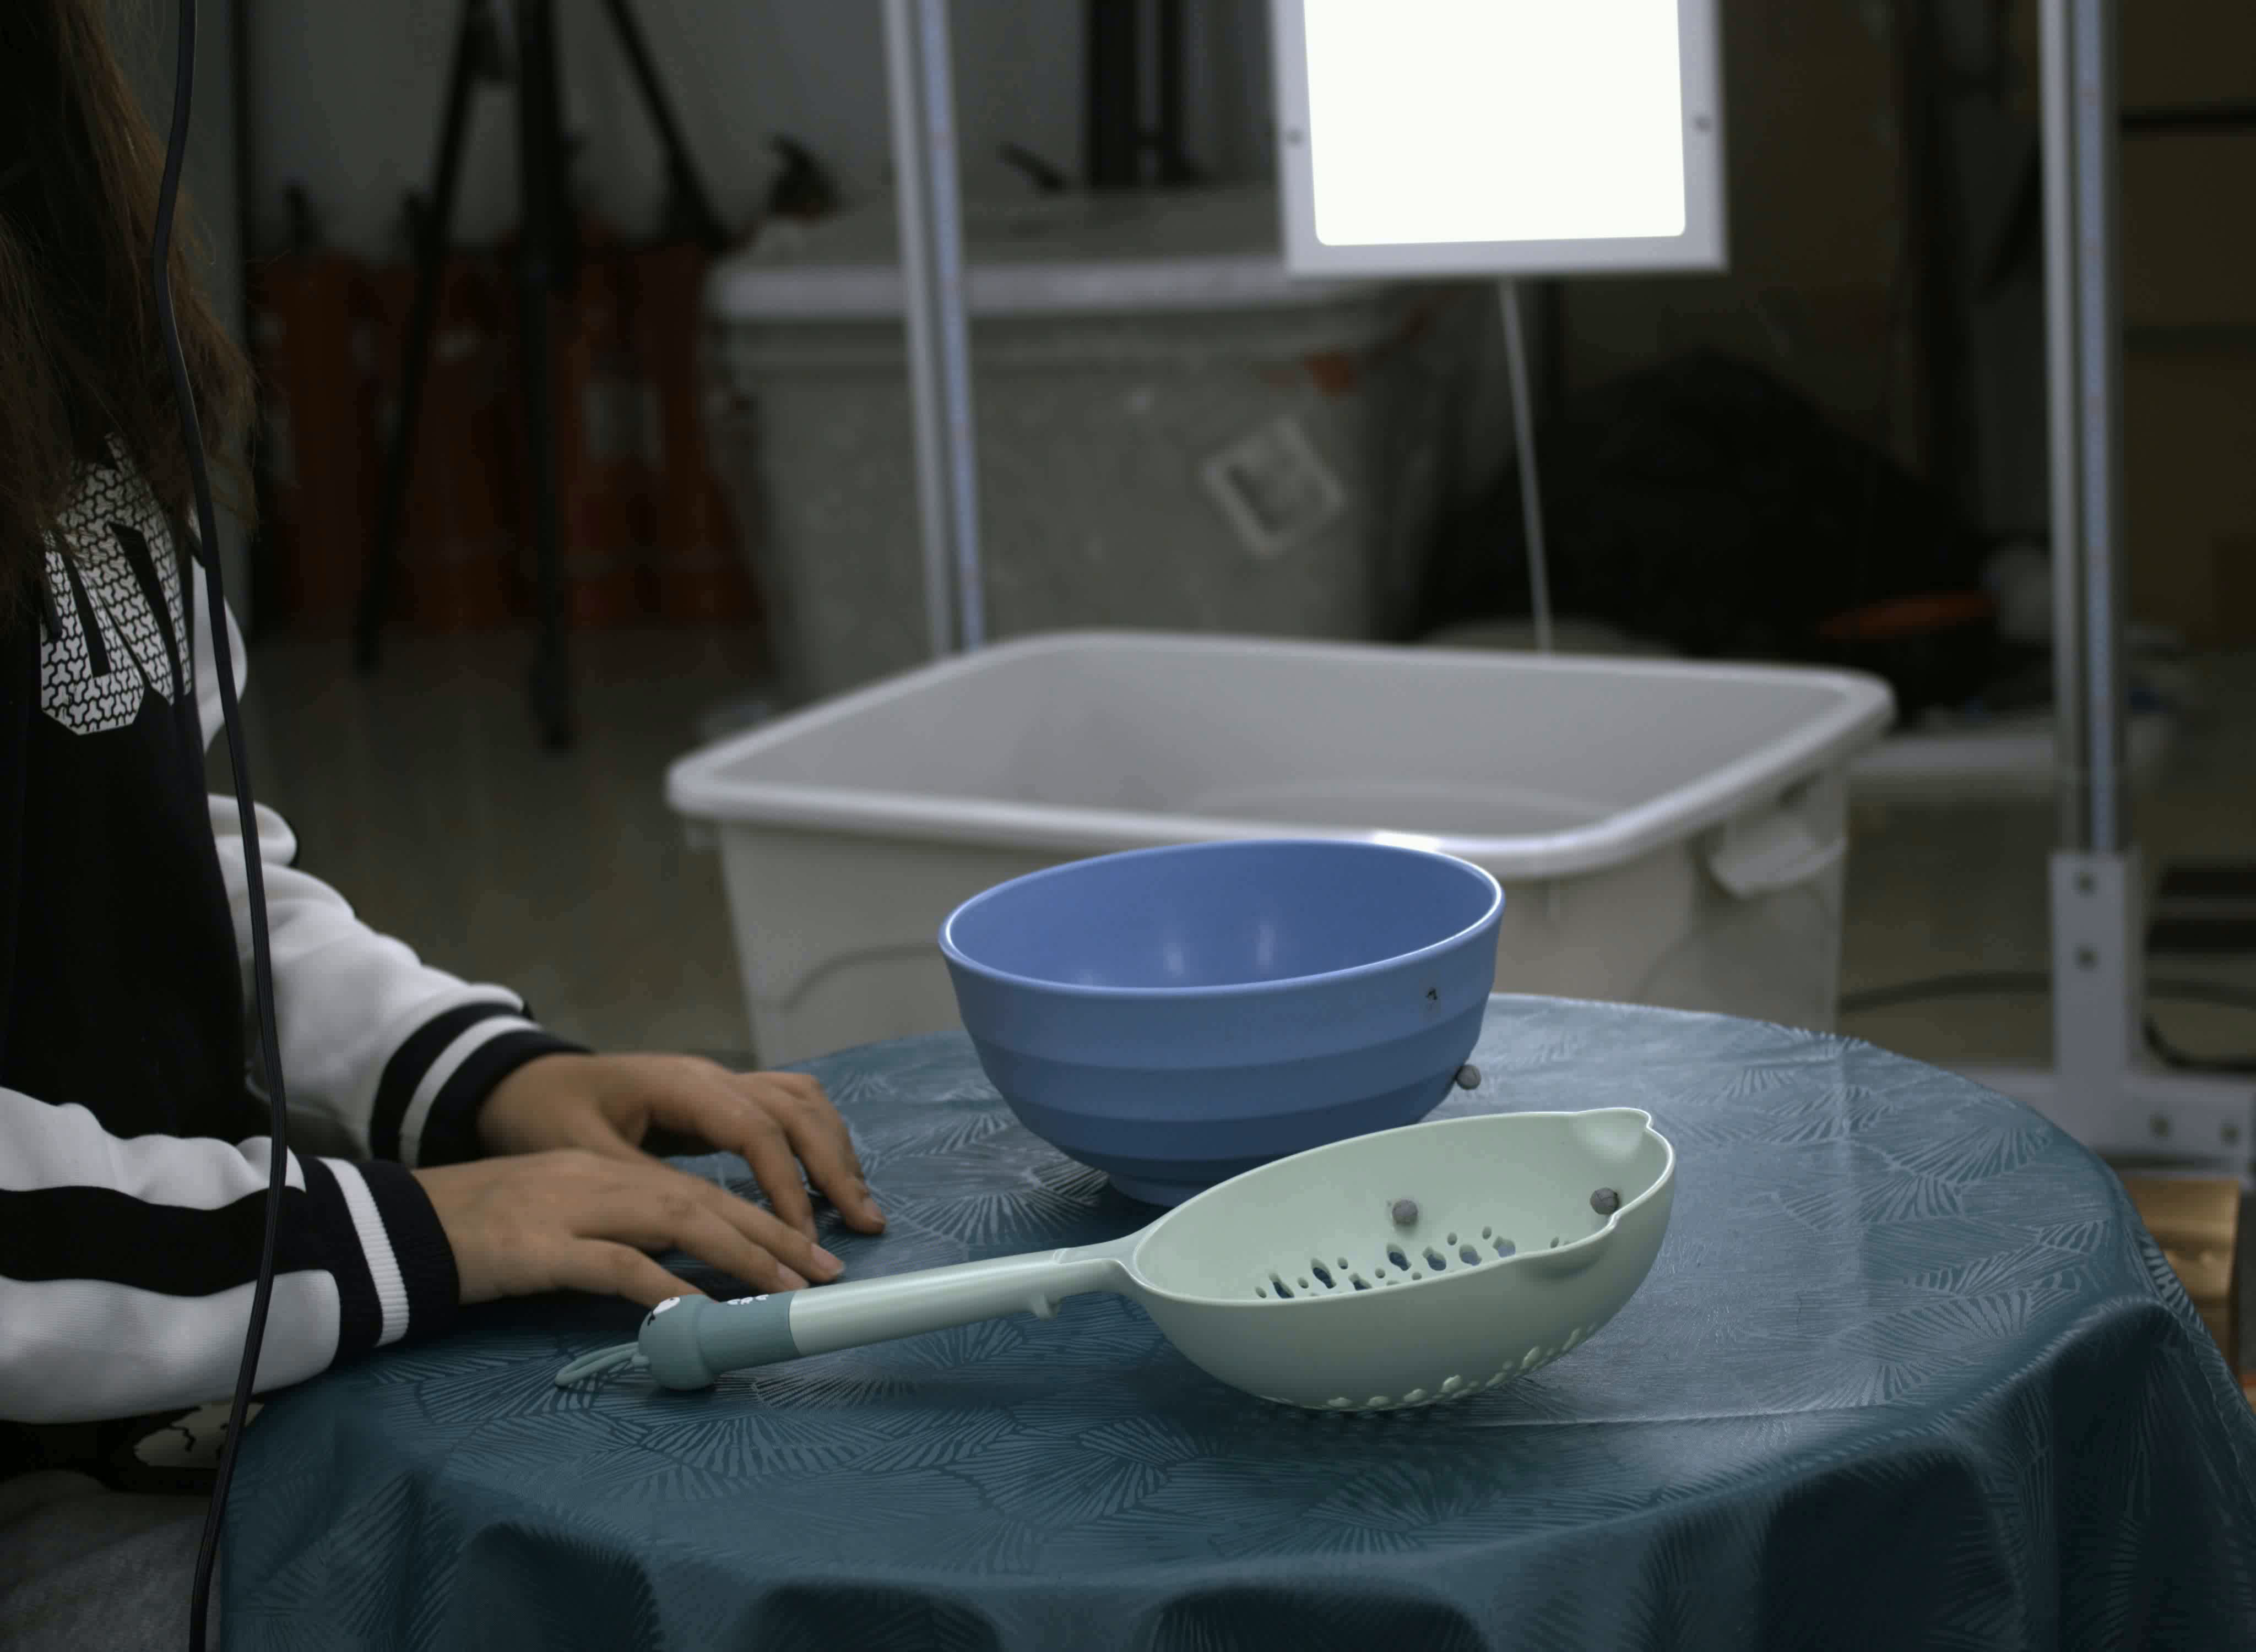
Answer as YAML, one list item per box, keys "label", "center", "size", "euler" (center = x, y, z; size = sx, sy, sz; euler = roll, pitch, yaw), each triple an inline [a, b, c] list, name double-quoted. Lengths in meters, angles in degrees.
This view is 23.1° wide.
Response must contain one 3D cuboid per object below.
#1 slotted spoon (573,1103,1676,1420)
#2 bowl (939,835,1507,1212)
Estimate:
- label: "slotted spoon"
  center: [-0.006, 0.144, 1.703]
  size: [0.362, 0.075, 0.167]
  euler: [-3, 13, 15]
- label: "bowl"
  center: [0.036, 0.074, 1.901]
  size: [0.196, 0.096, 0.196]
  euler: [-5, 14, 0]
